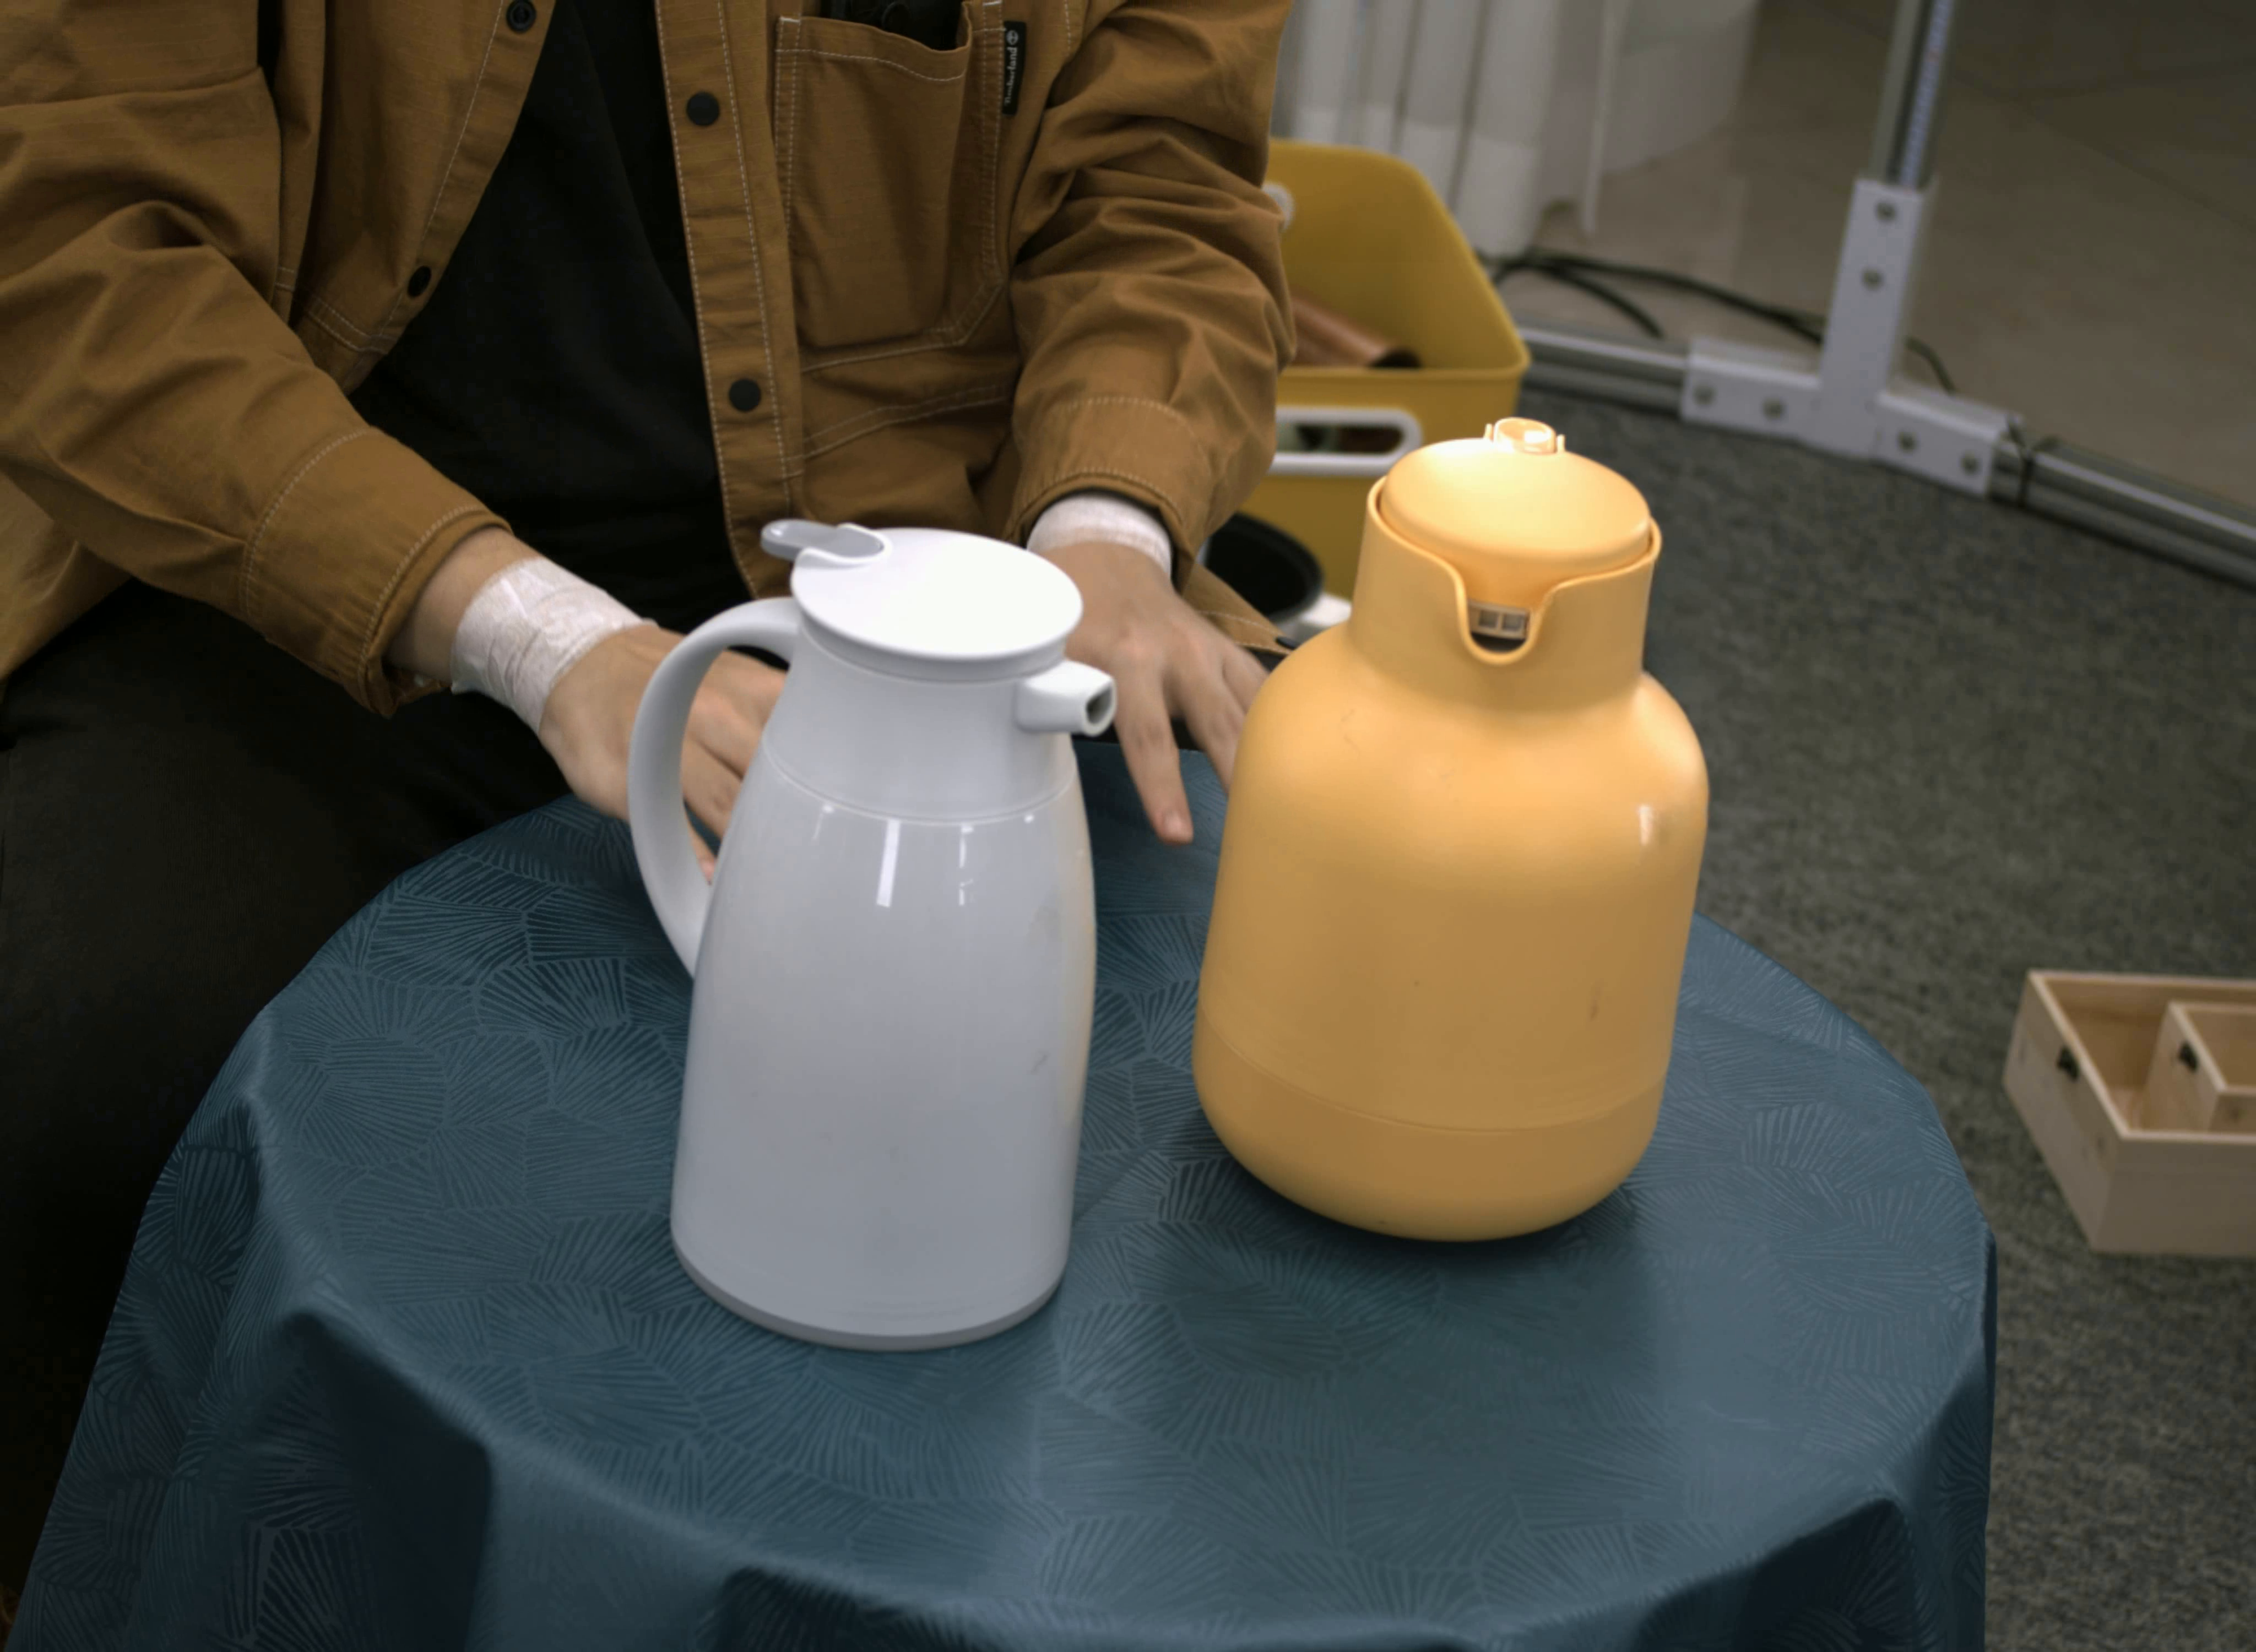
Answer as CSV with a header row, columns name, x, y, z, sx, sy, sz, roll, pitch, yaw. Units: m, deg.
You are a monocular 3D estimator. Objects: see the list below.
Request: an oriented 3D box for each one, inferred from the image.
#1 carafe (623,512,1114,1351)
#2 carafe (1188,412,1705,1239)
name,x,y,z,sx,sy,sz,roll,pitch,yaw
carafe,-0.090,0.023,1.709,0.168,0.248,0.132,19,29,23
carafe,0.116,-0.009,1.806,0.163,0.259,0.203,11,28,4
